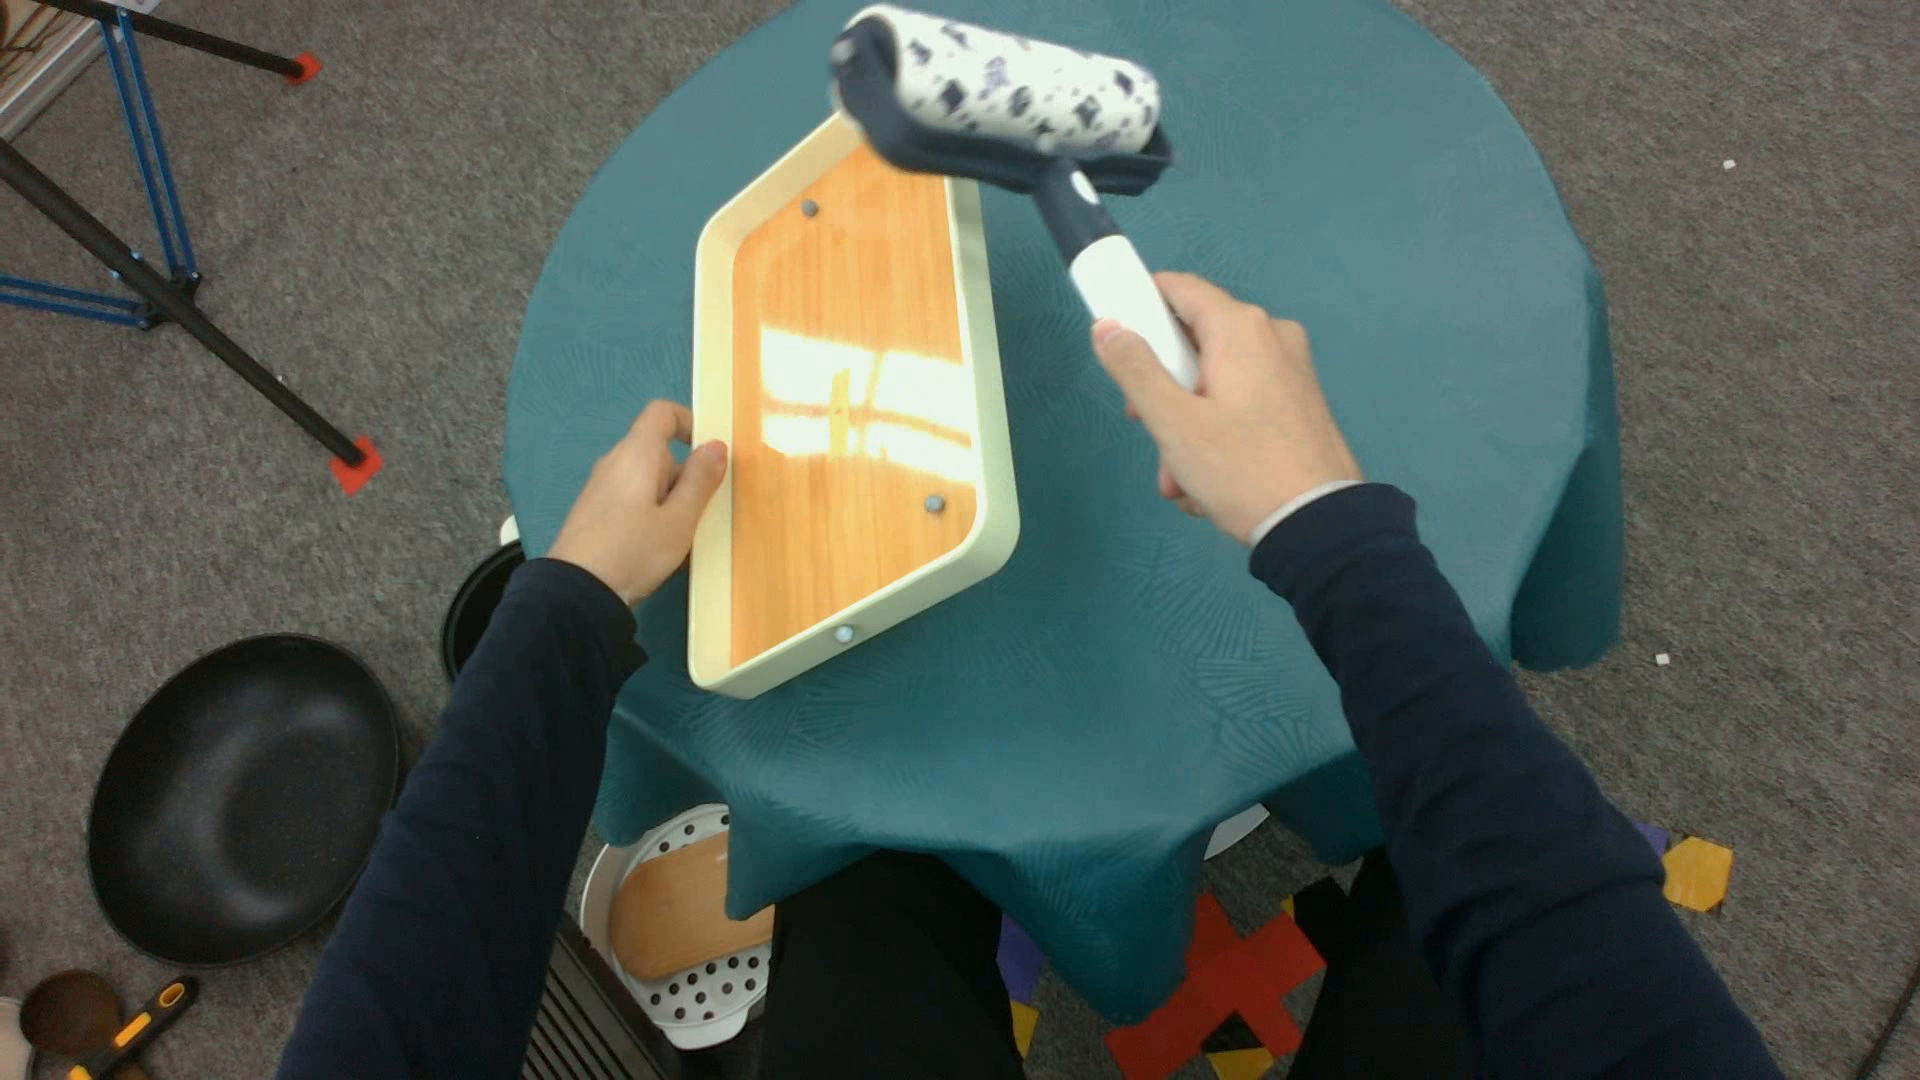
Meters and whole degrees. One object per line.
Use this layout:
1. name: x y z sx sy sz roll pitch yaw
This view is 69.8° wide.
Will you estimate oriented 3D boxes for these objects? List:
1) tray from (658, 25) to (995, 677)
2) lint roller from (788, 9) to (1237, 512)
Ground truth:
1. tray: -0.075 -0.098 0.674 0.191 0.027 0.301 -27 54 32
2. lint roller: 0.050 -0.121 0.581 0.177 0.050 0.247 -12 63 -45
